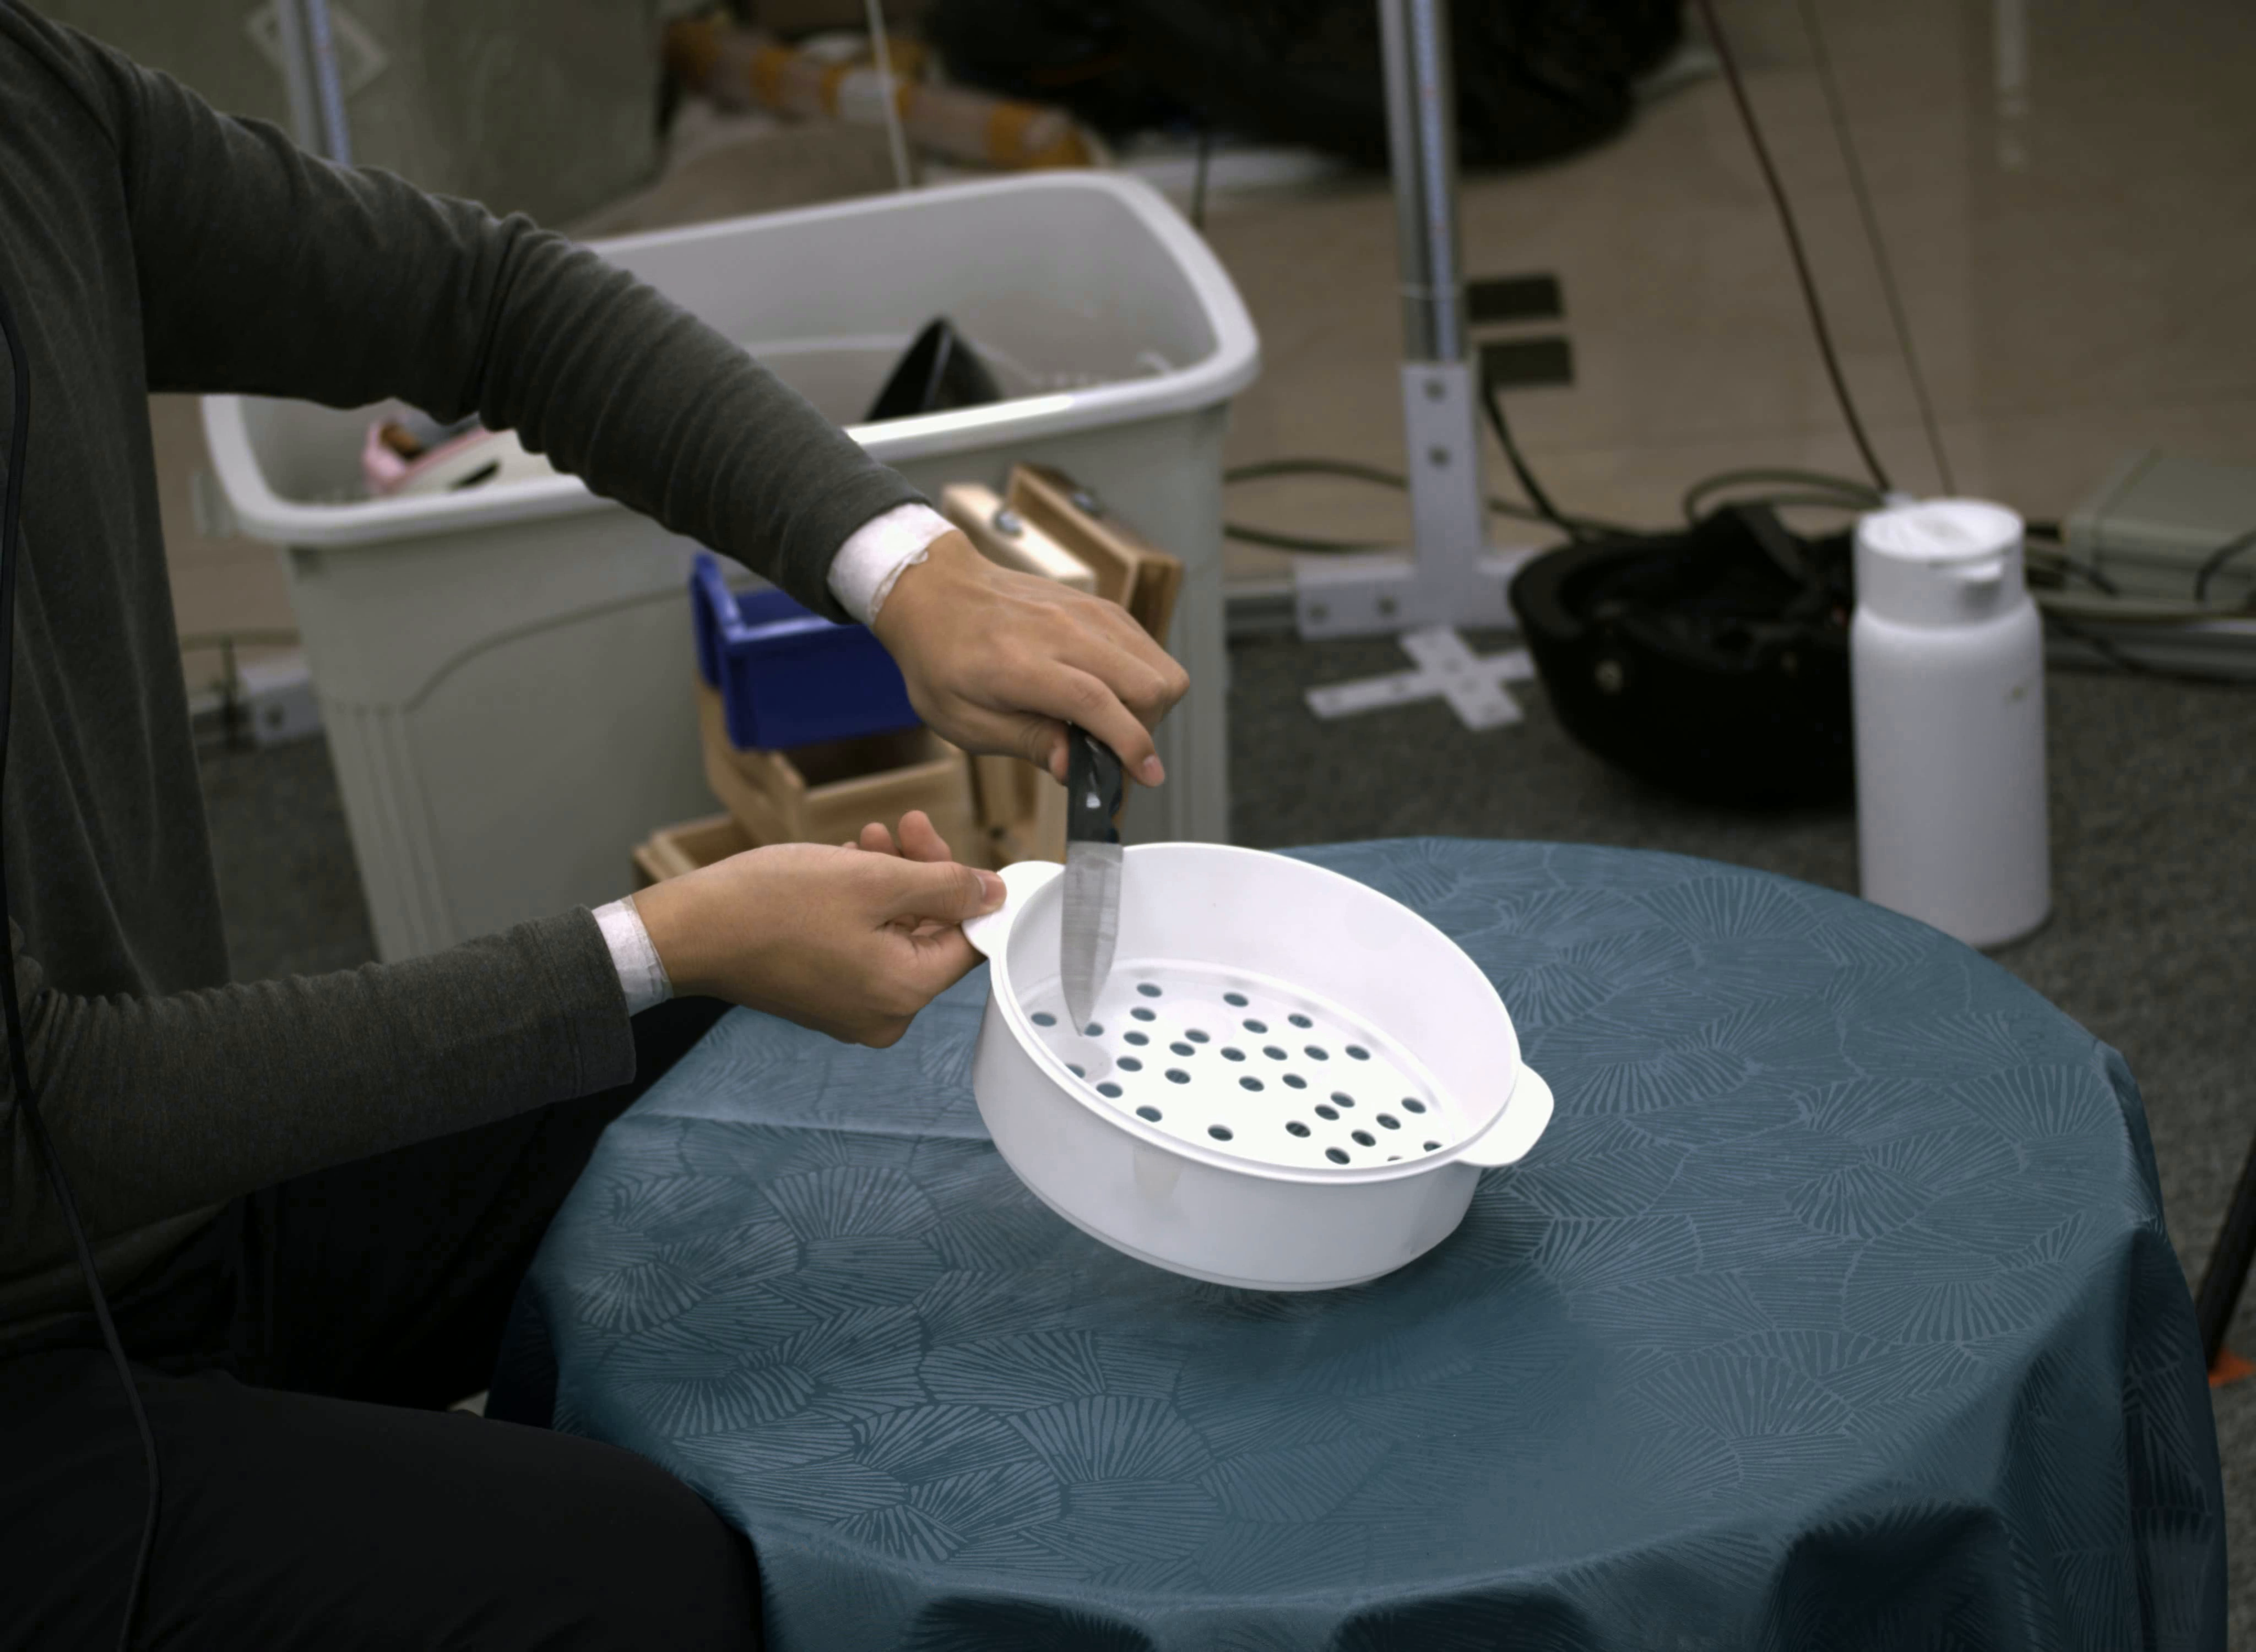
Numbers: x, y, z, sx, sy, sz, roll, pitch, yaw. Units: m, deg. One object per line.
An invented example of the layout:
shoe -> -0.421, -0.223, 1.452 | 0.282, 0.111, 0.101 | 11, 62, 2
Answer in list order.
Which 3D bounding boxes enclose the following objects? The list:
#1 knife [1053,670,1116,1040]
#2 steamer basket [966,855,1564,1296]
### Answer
knife -> -0.016, 0.009, 2.132 | 0.024, 0.016, 0.234 | 9, 35, -6
steamer basket -> 0.044, 0.093, 2.101 | 0.229, 0.070, 0.199 | 22, 34, 12
